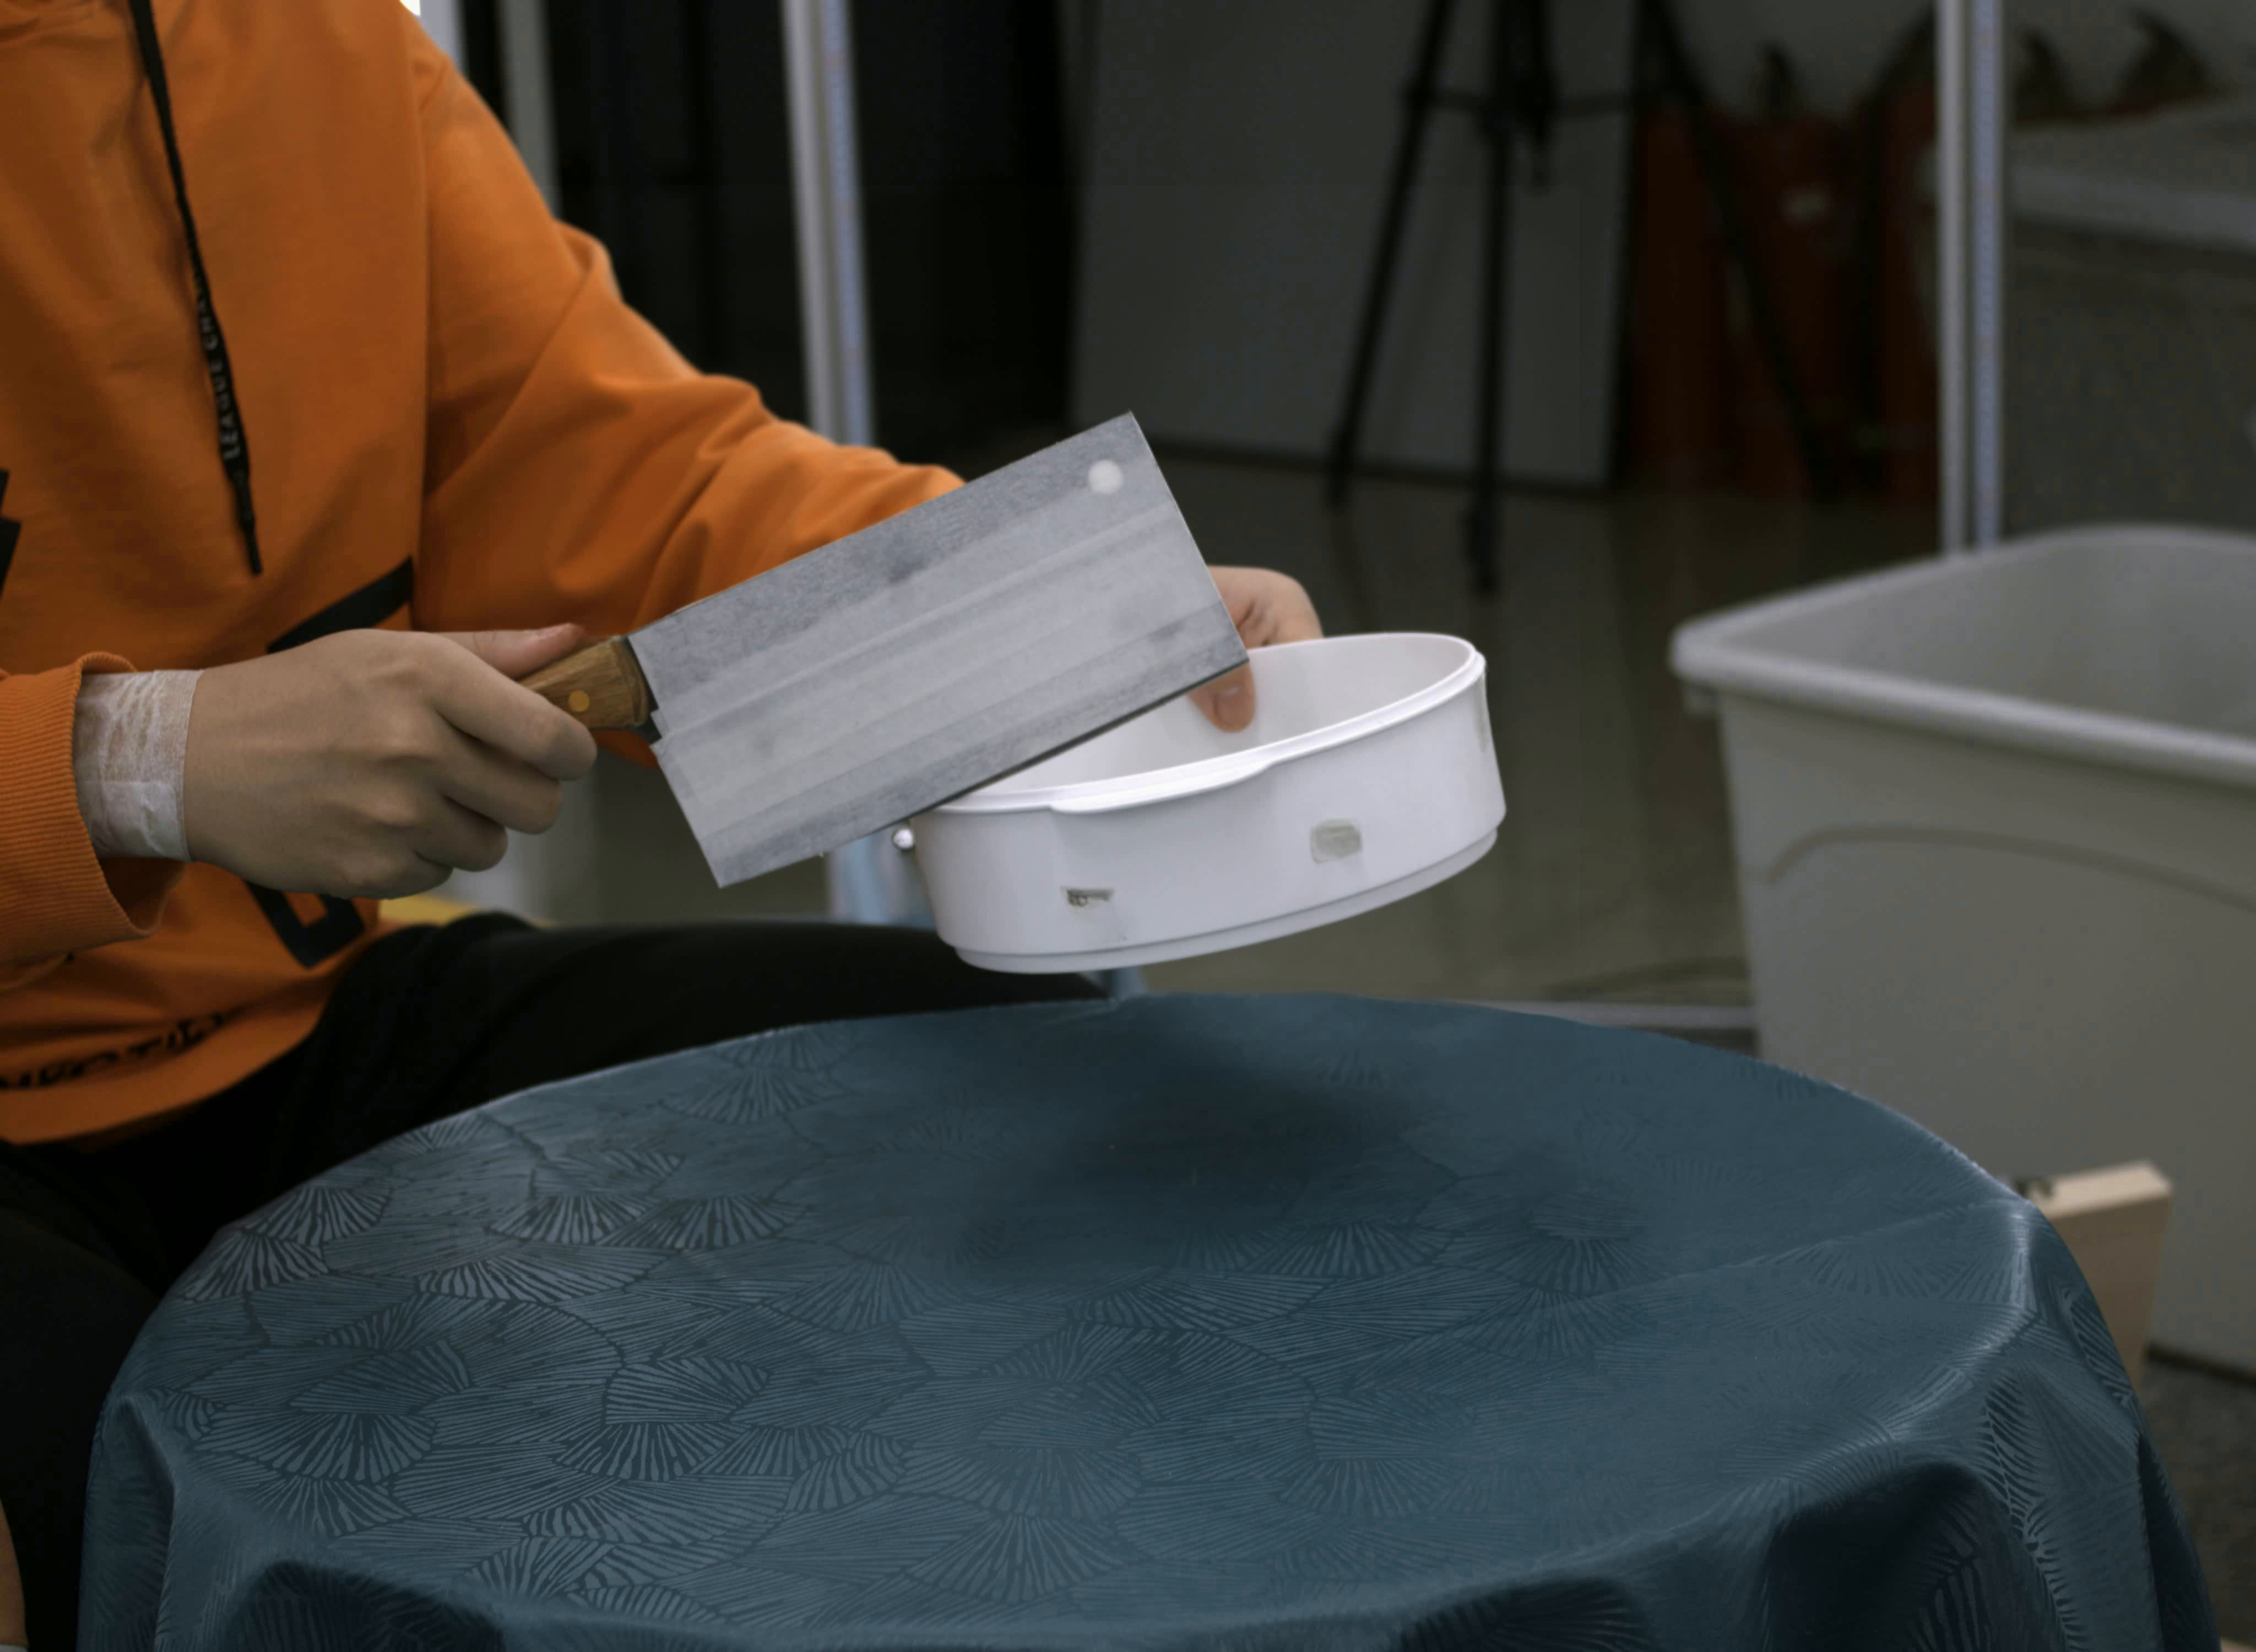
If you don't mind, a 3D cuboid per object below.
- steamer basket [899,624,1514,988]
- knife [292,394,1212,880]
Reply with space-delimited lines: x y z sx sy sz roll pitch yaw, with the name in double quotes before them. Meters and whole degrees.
"steamer basket" 0.028 -0.006 1.765 0.200 0.070 0.230 -13 13 8
"knife" -0.117 -0.036 1.711 0.305 0.093 0.021 -24 13 13
